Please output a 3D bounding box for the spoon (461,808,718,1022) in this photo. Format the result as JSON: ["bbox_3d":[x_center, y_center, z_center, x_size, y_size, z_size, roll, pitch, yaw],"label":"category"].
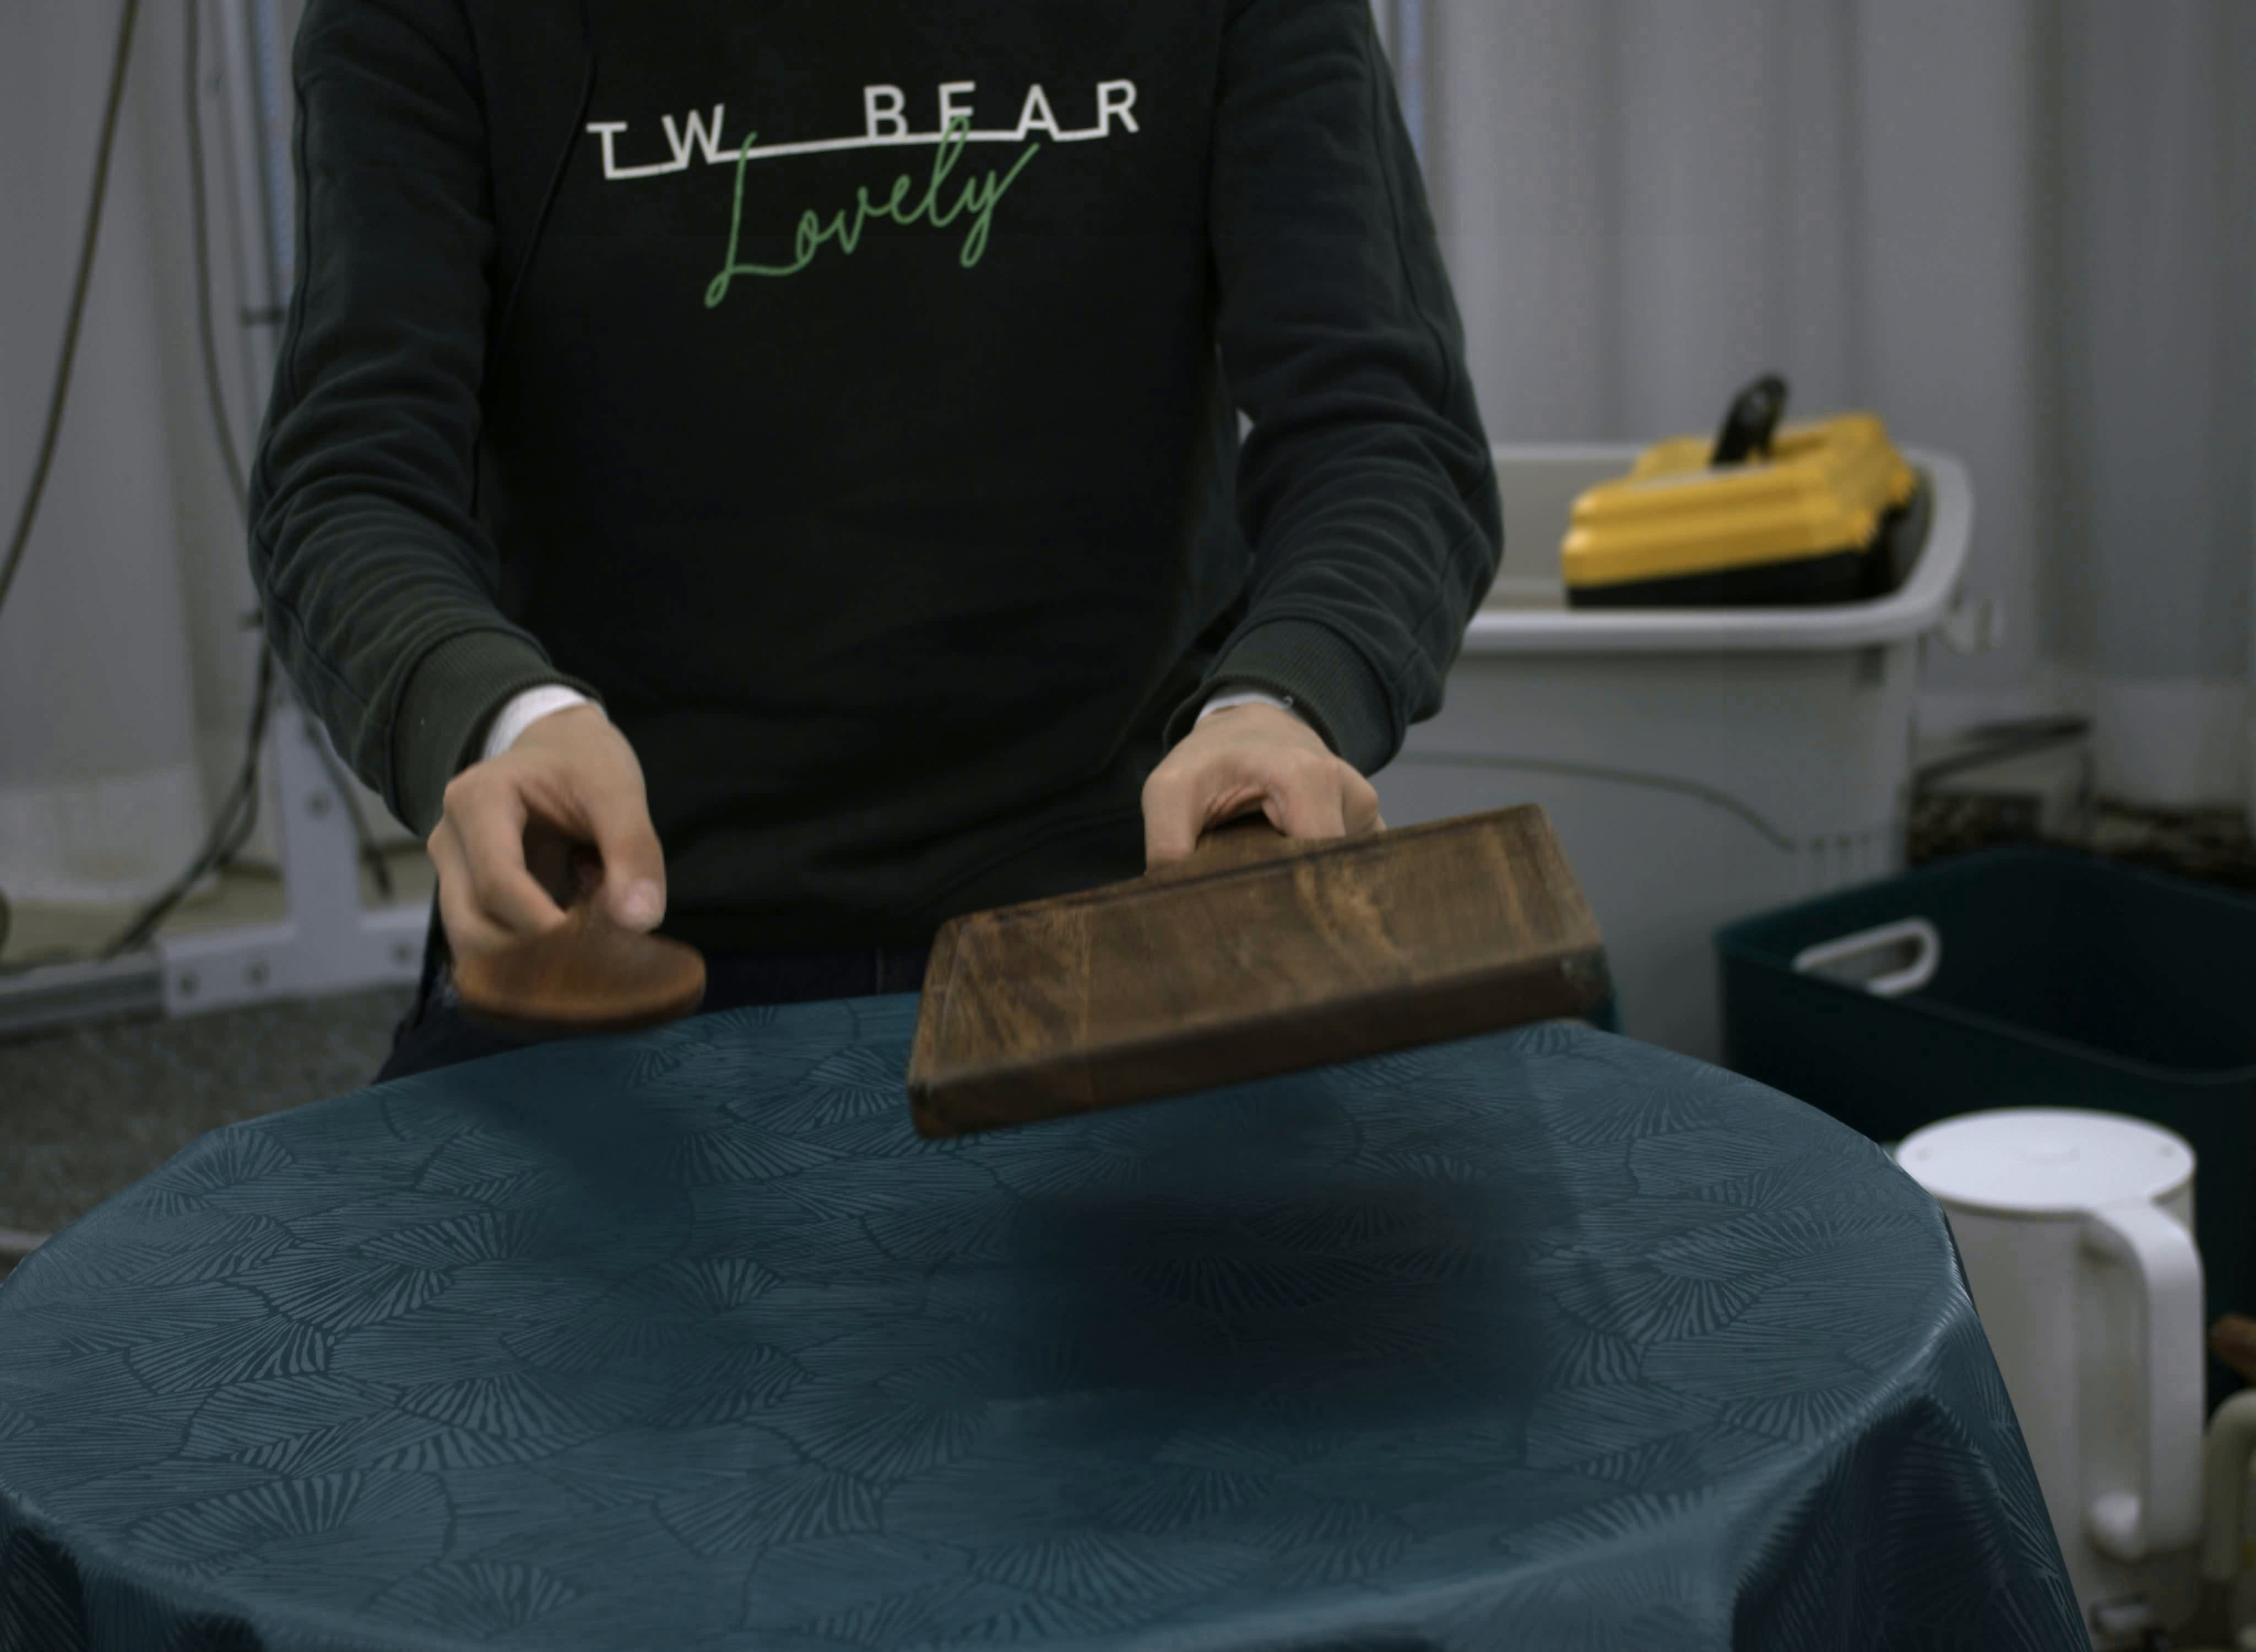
[{"bbox_3d":[-0.161,0.028,1.665,0.075,0.017,0.217,-2,15,-2],"label":"spoon"}]

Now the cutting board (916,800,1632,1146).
[{"bbox_3d":[0.038,0.032,1.647,0.200,0.023,0.353,-13,8,2],"label":"cutting board"}]
